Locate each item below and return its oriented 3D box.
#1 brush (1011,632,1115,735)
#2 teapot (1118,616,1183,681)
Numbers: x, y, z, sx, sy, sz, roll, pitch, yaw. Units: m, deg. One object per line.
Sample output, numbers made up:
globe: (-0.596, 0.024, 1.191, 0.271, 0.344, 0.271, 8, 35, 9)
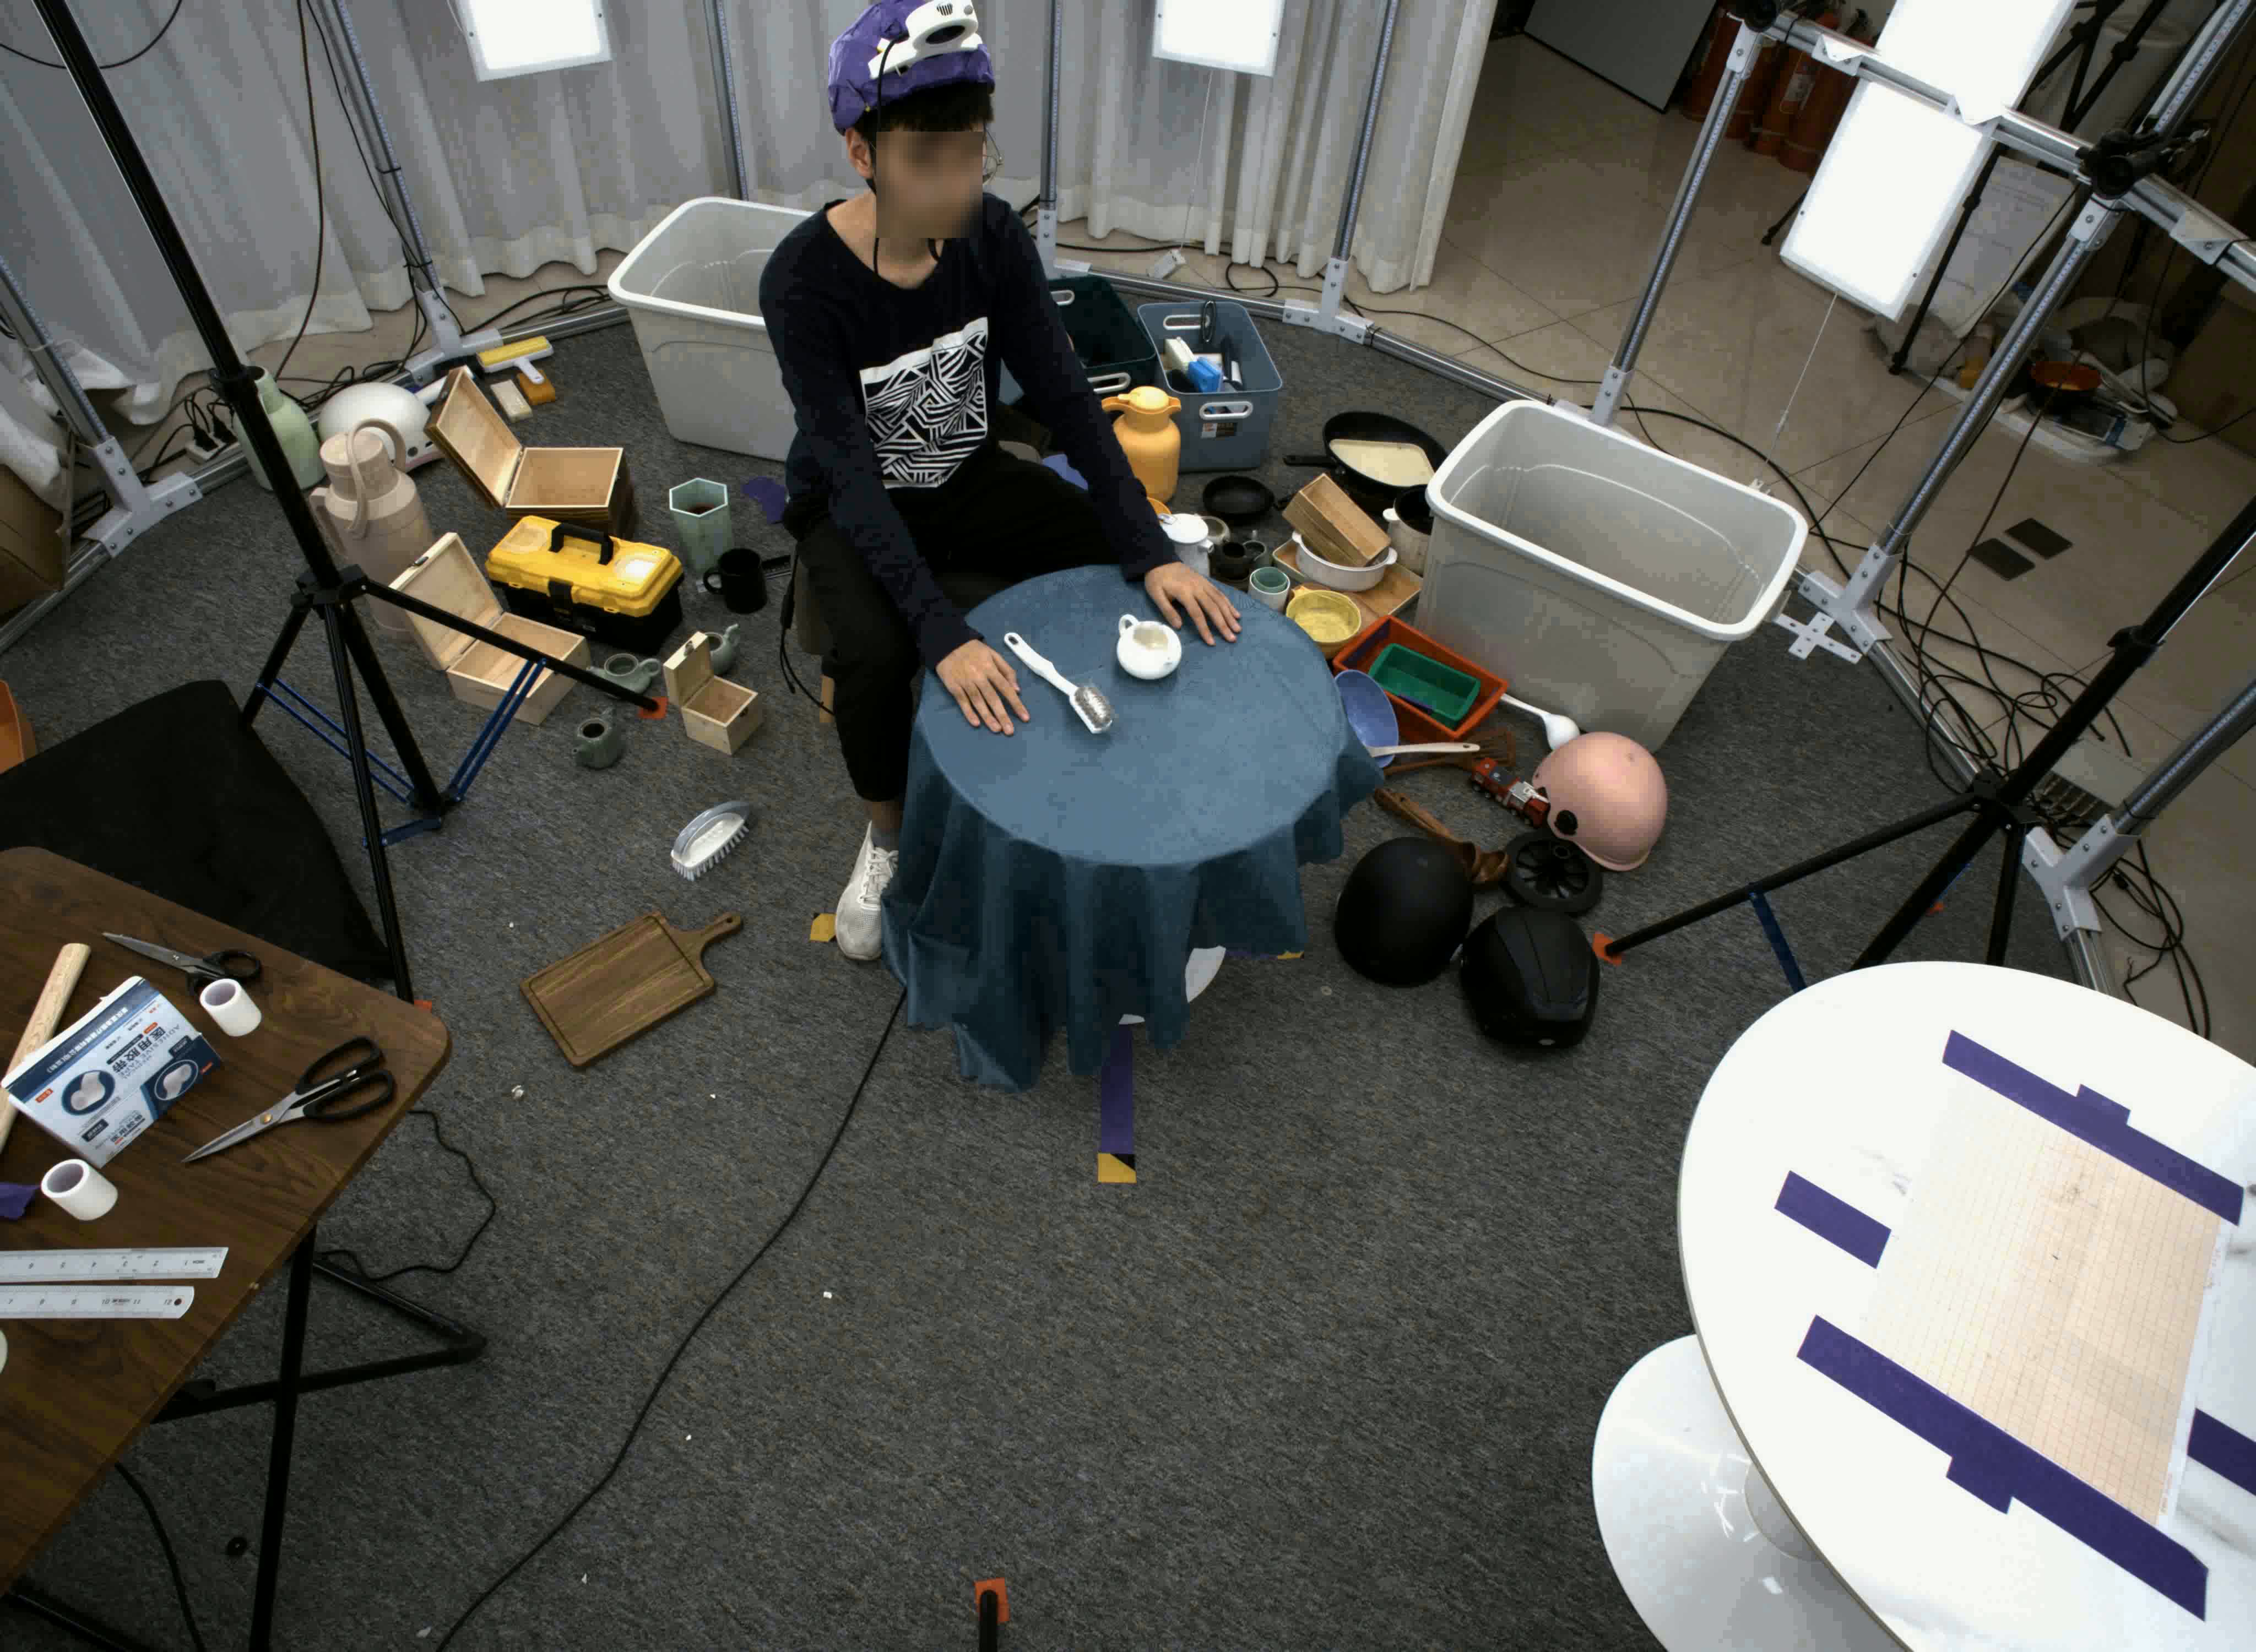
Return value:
brush: (-0.098, -0.216, 1.819, 0.034, 0.049, 0.248, -28, 56, -20)
teapot: (0.026, -0.259, 1.861, 0.094, 0.055, 0.130, -30, 55, -22)
